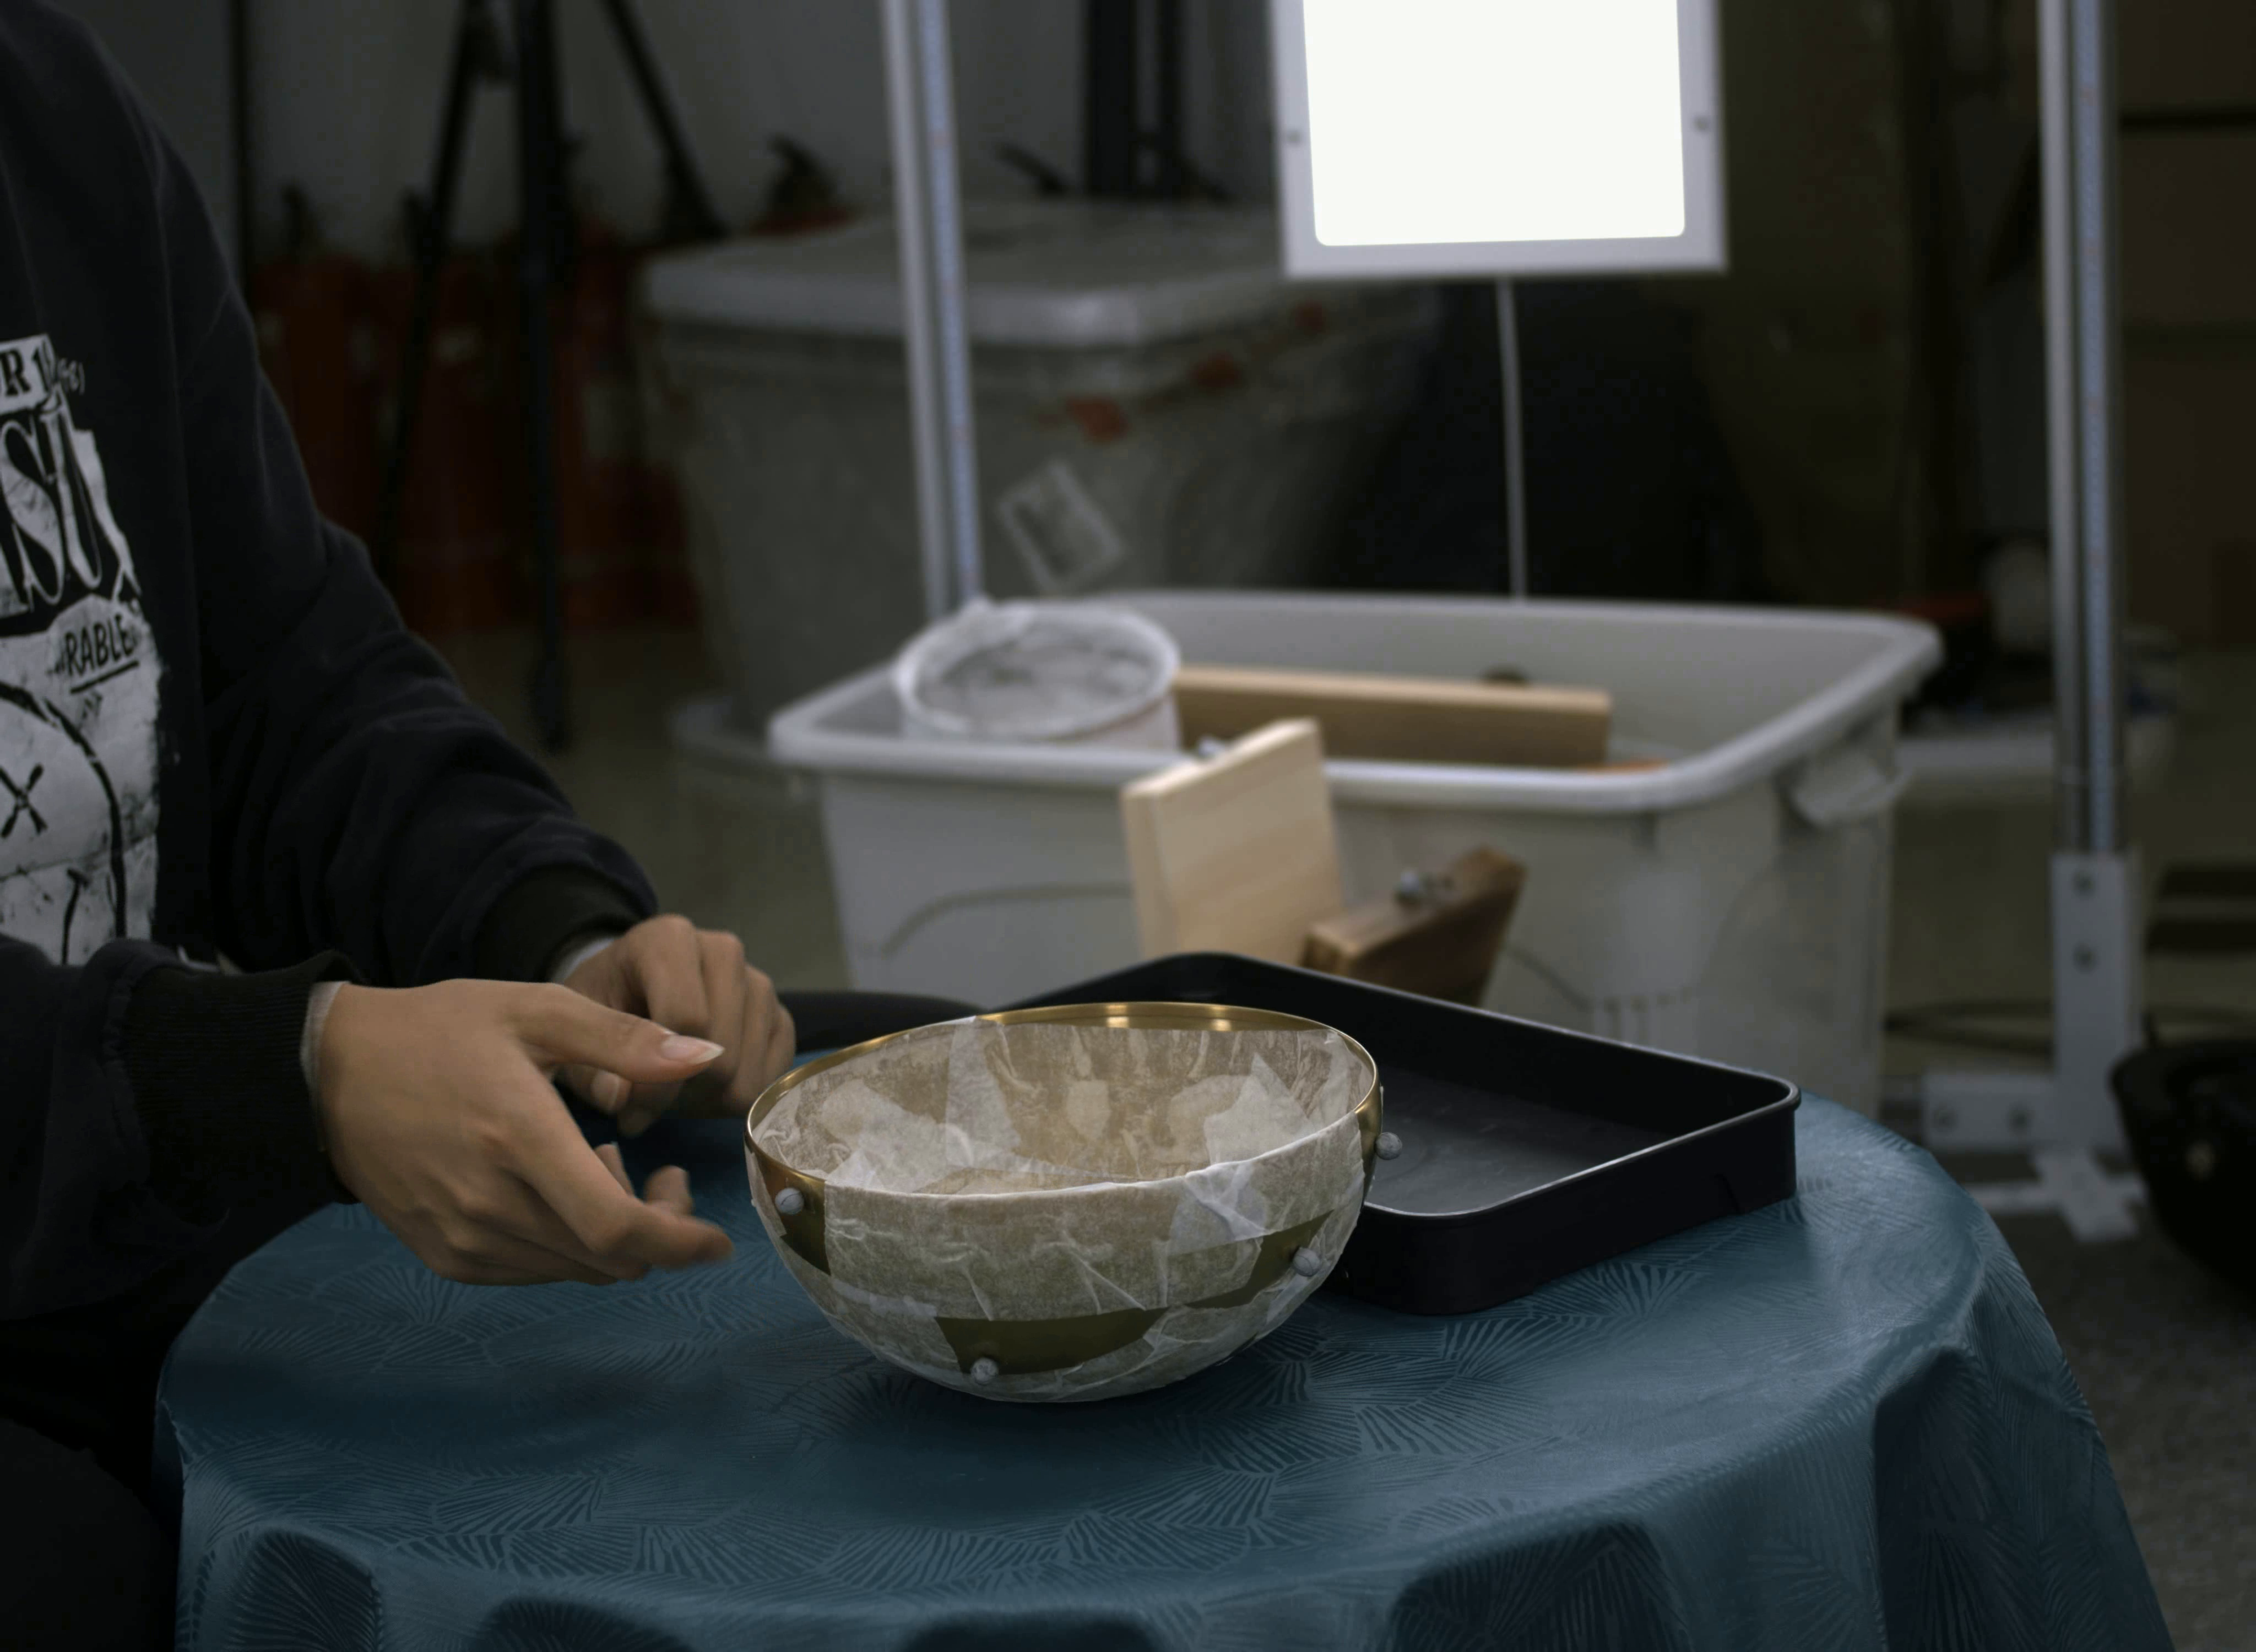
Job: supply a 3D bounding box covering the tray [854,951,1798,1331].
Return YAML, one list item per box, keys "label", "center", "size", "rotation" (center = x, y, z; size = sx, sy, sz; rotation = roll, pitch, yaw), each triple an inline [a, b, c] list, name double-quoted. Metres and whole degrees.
- label: "tray"
  center: [0.064, 0.104, 1.902]
  size: [0.180, 0.037, 0.324]
  rotation: [-14, 18, -36]

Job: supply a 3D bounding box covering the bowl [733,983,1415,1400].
- label: "bowl"
  center: [-0.015, 0.122, 1.720]
  size: [0.214, 0.095, 0.214]
  rotation: [-6, 15, 0]
